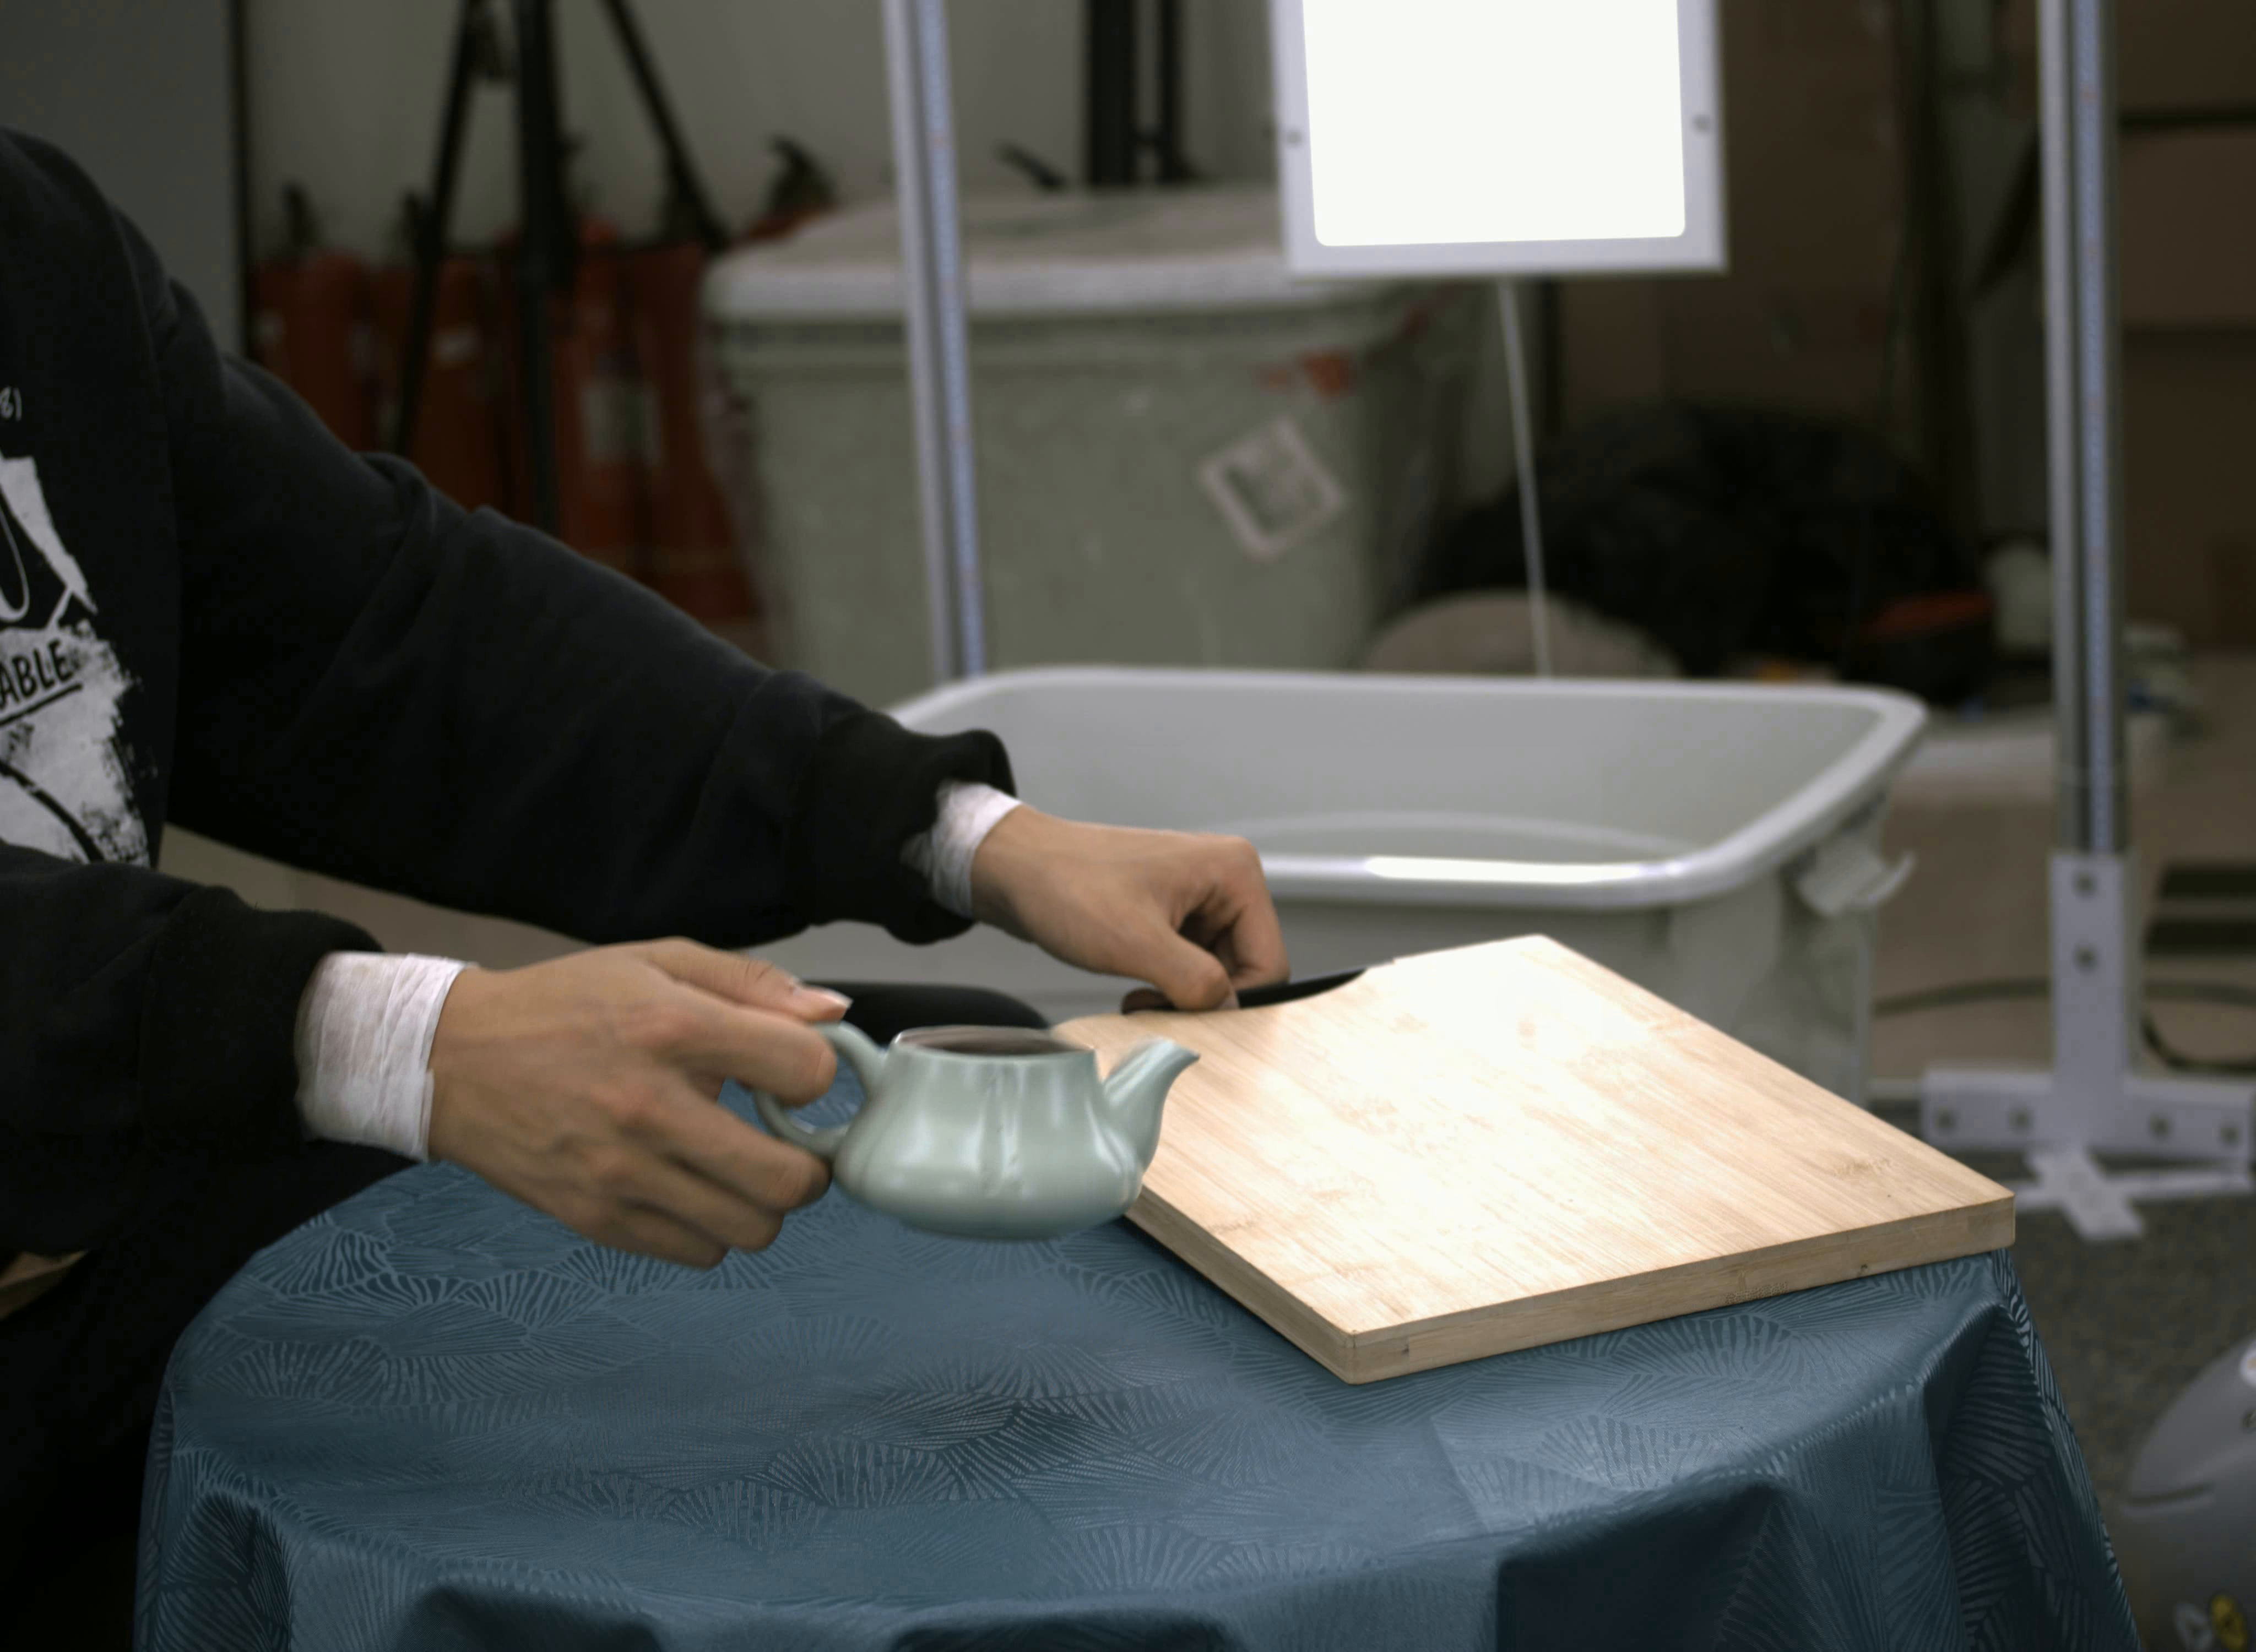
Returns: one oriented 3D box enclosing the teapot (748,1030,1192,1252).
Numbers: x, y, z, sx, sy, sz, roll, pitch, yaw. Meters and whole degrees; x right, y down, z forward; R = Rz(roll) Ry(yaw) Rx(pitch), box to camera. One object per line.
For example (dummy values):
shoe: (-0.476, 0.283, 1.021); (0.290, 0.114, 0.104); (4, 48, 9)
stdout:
teapot: (-0.049, 0.095, 1.678); (0.135, 0.061, 0.096); (3, 7, -8)

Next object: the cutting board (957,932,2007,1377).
cutting board: (0.110, 0.106, 1.883); (0.246, 0.024, 0.353); (-10, 17, -21)
